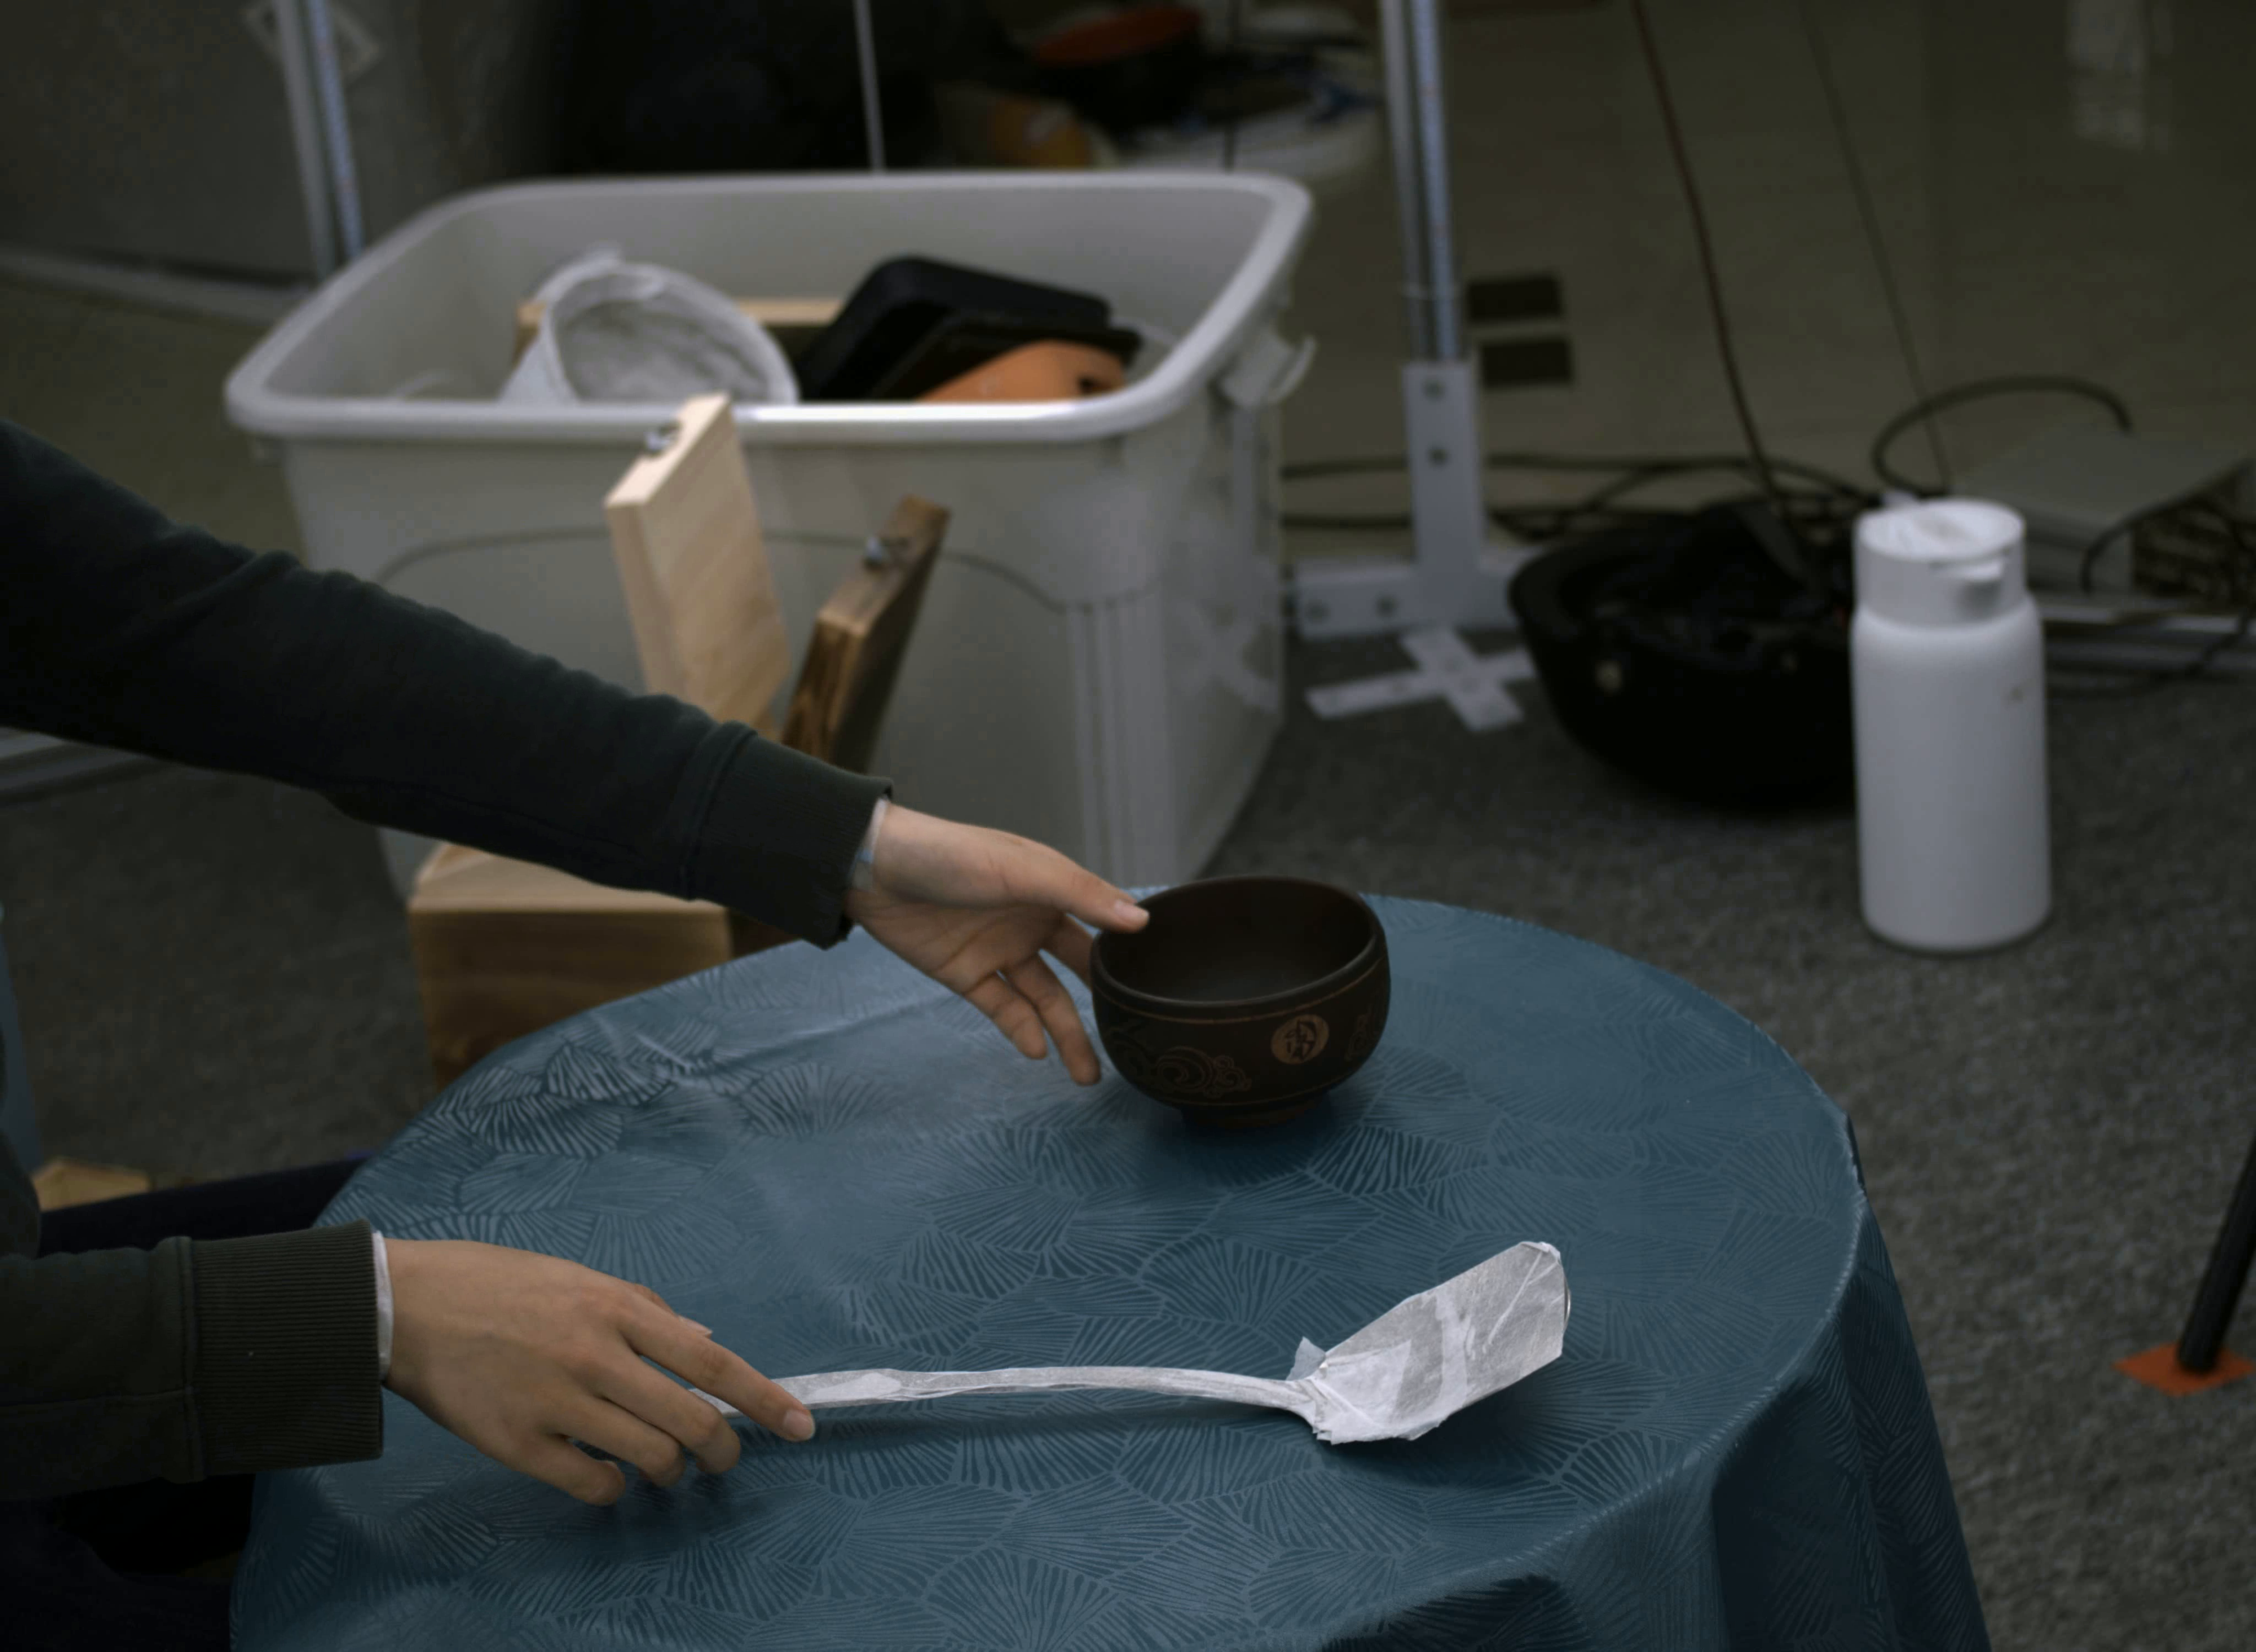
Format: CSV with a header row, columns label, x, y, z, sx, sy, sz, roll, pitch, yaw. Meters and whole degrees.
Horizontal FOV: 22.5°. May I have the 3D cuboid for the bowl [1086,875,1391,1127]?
label,x,y,z,sx,sy,sz,roll,pitch,yaw
bowl,0.044,0.074,2.197,0.118,0.071,0.116,-6,23,3

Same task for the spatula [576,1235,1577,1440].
label,x,y,z,sx,sy,sz,roll,pitch,yaw
spatula,-0.023,0.190,2.002,0.364,0.045,0.097,-3,27,8
